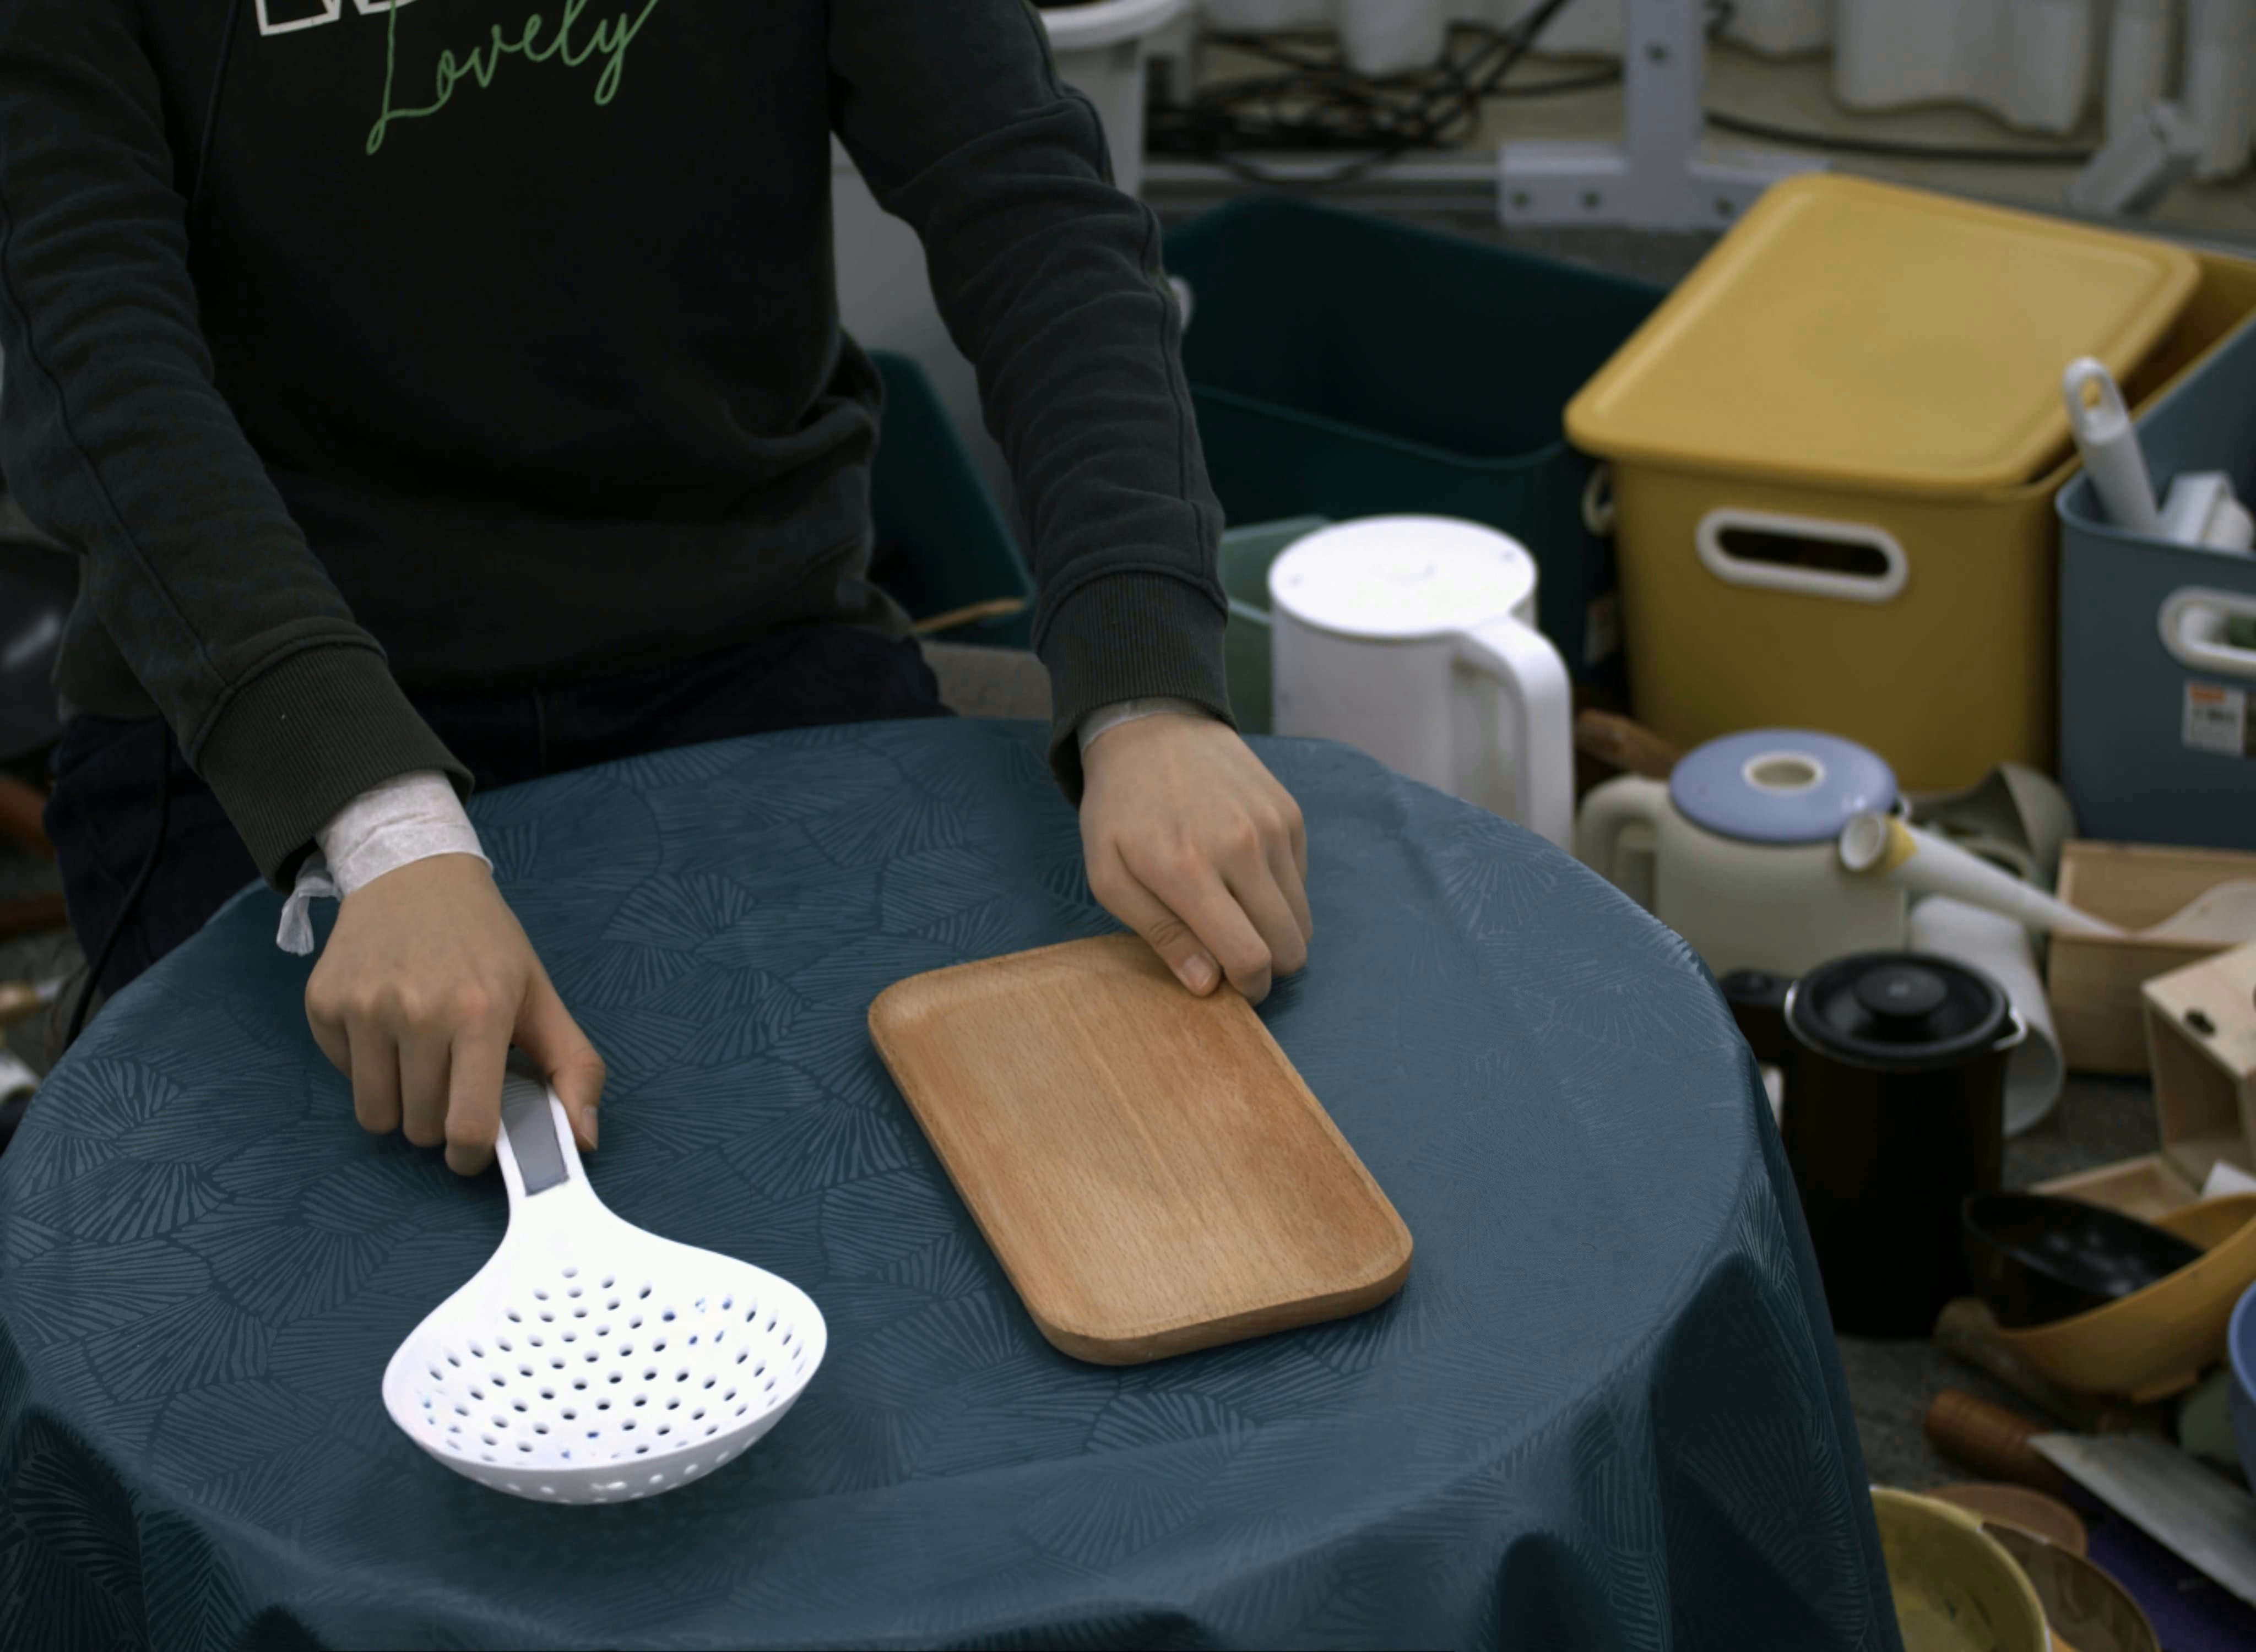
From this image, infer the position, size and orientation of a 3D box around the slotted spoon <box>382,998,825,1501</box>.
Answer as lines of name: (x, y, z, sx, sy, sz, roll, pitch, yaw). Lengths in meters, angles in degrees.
slotted spoon: (-0.183, 0.130, 1.814, 0.136, 0.045, 0.353, -8, 27, -11)

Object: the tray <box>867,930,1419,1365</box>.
tray: (0.001, 0.104, 1.876, 0.130, 0.022, 0.253, -9, 27, -15)
